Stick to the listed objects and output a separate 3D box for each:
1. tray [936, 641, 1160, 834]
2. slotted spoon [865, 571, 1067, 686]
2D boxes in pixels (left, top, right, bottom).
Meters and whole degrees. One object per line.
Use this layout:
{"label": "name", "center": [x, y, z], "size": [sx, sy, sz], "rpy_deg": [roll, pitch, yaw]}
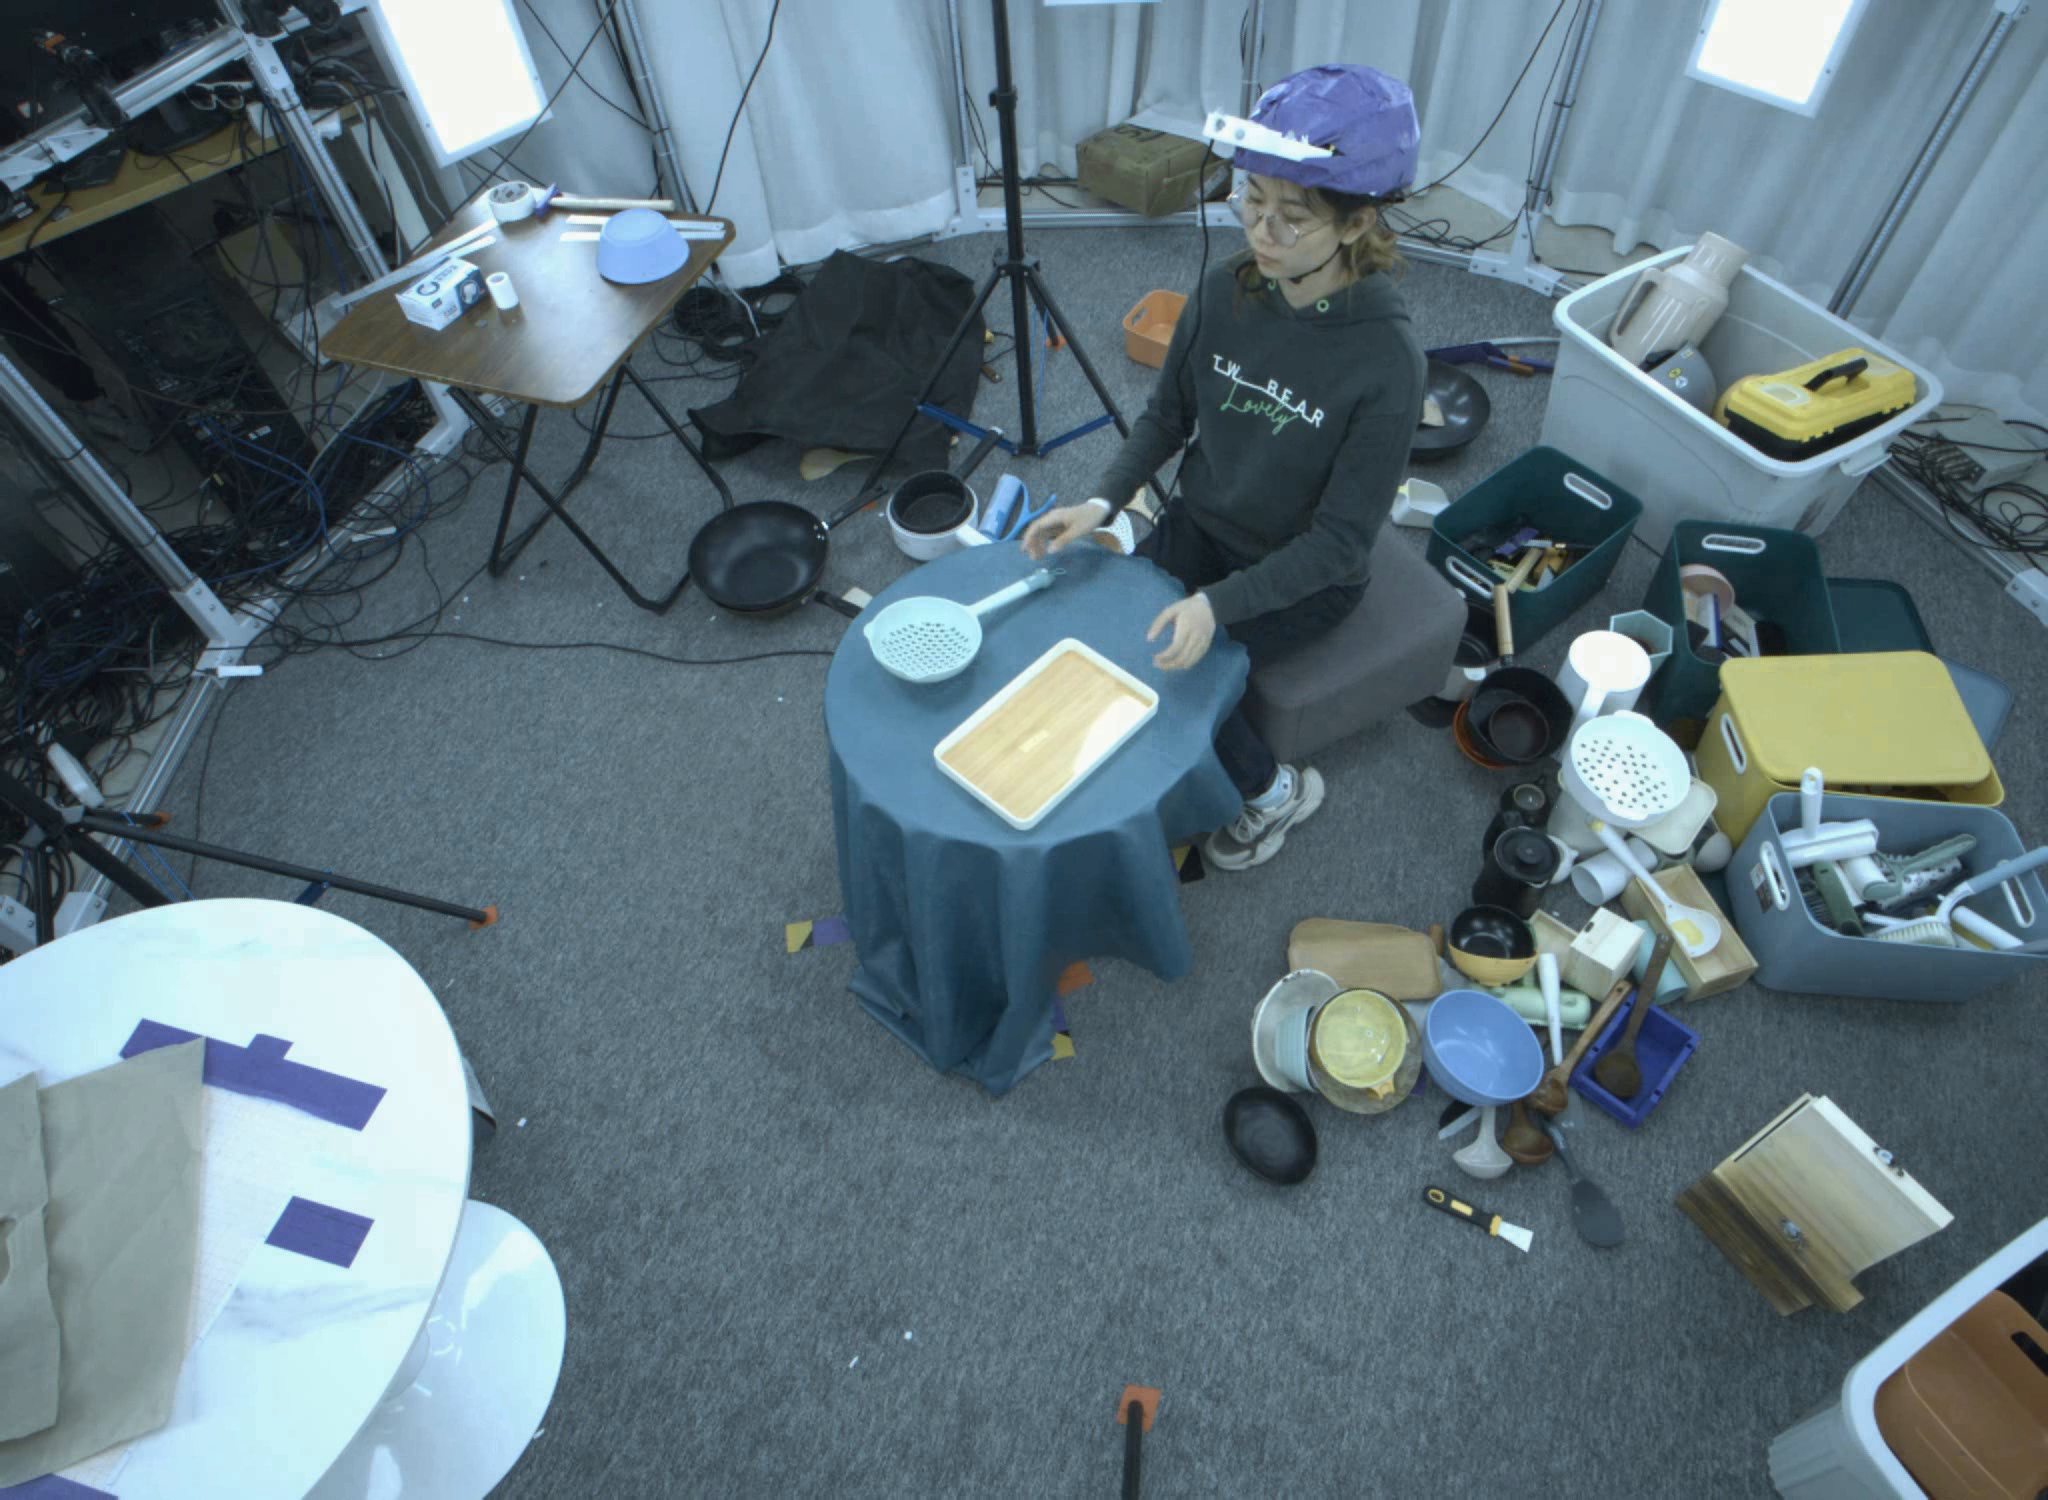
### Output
{"label": "tray", "center": [0.037, -0.024, 1.797], "size": [0.188, 0.028, 0.302], "rpy_deg": [37, 64, 24]}
{"label": "slotted spoon", "center": [-0.074, -0.207, 1.906], "size": [0.361, 0.076, 0.166], "rpy_deg": [-36, 62, -21]}
